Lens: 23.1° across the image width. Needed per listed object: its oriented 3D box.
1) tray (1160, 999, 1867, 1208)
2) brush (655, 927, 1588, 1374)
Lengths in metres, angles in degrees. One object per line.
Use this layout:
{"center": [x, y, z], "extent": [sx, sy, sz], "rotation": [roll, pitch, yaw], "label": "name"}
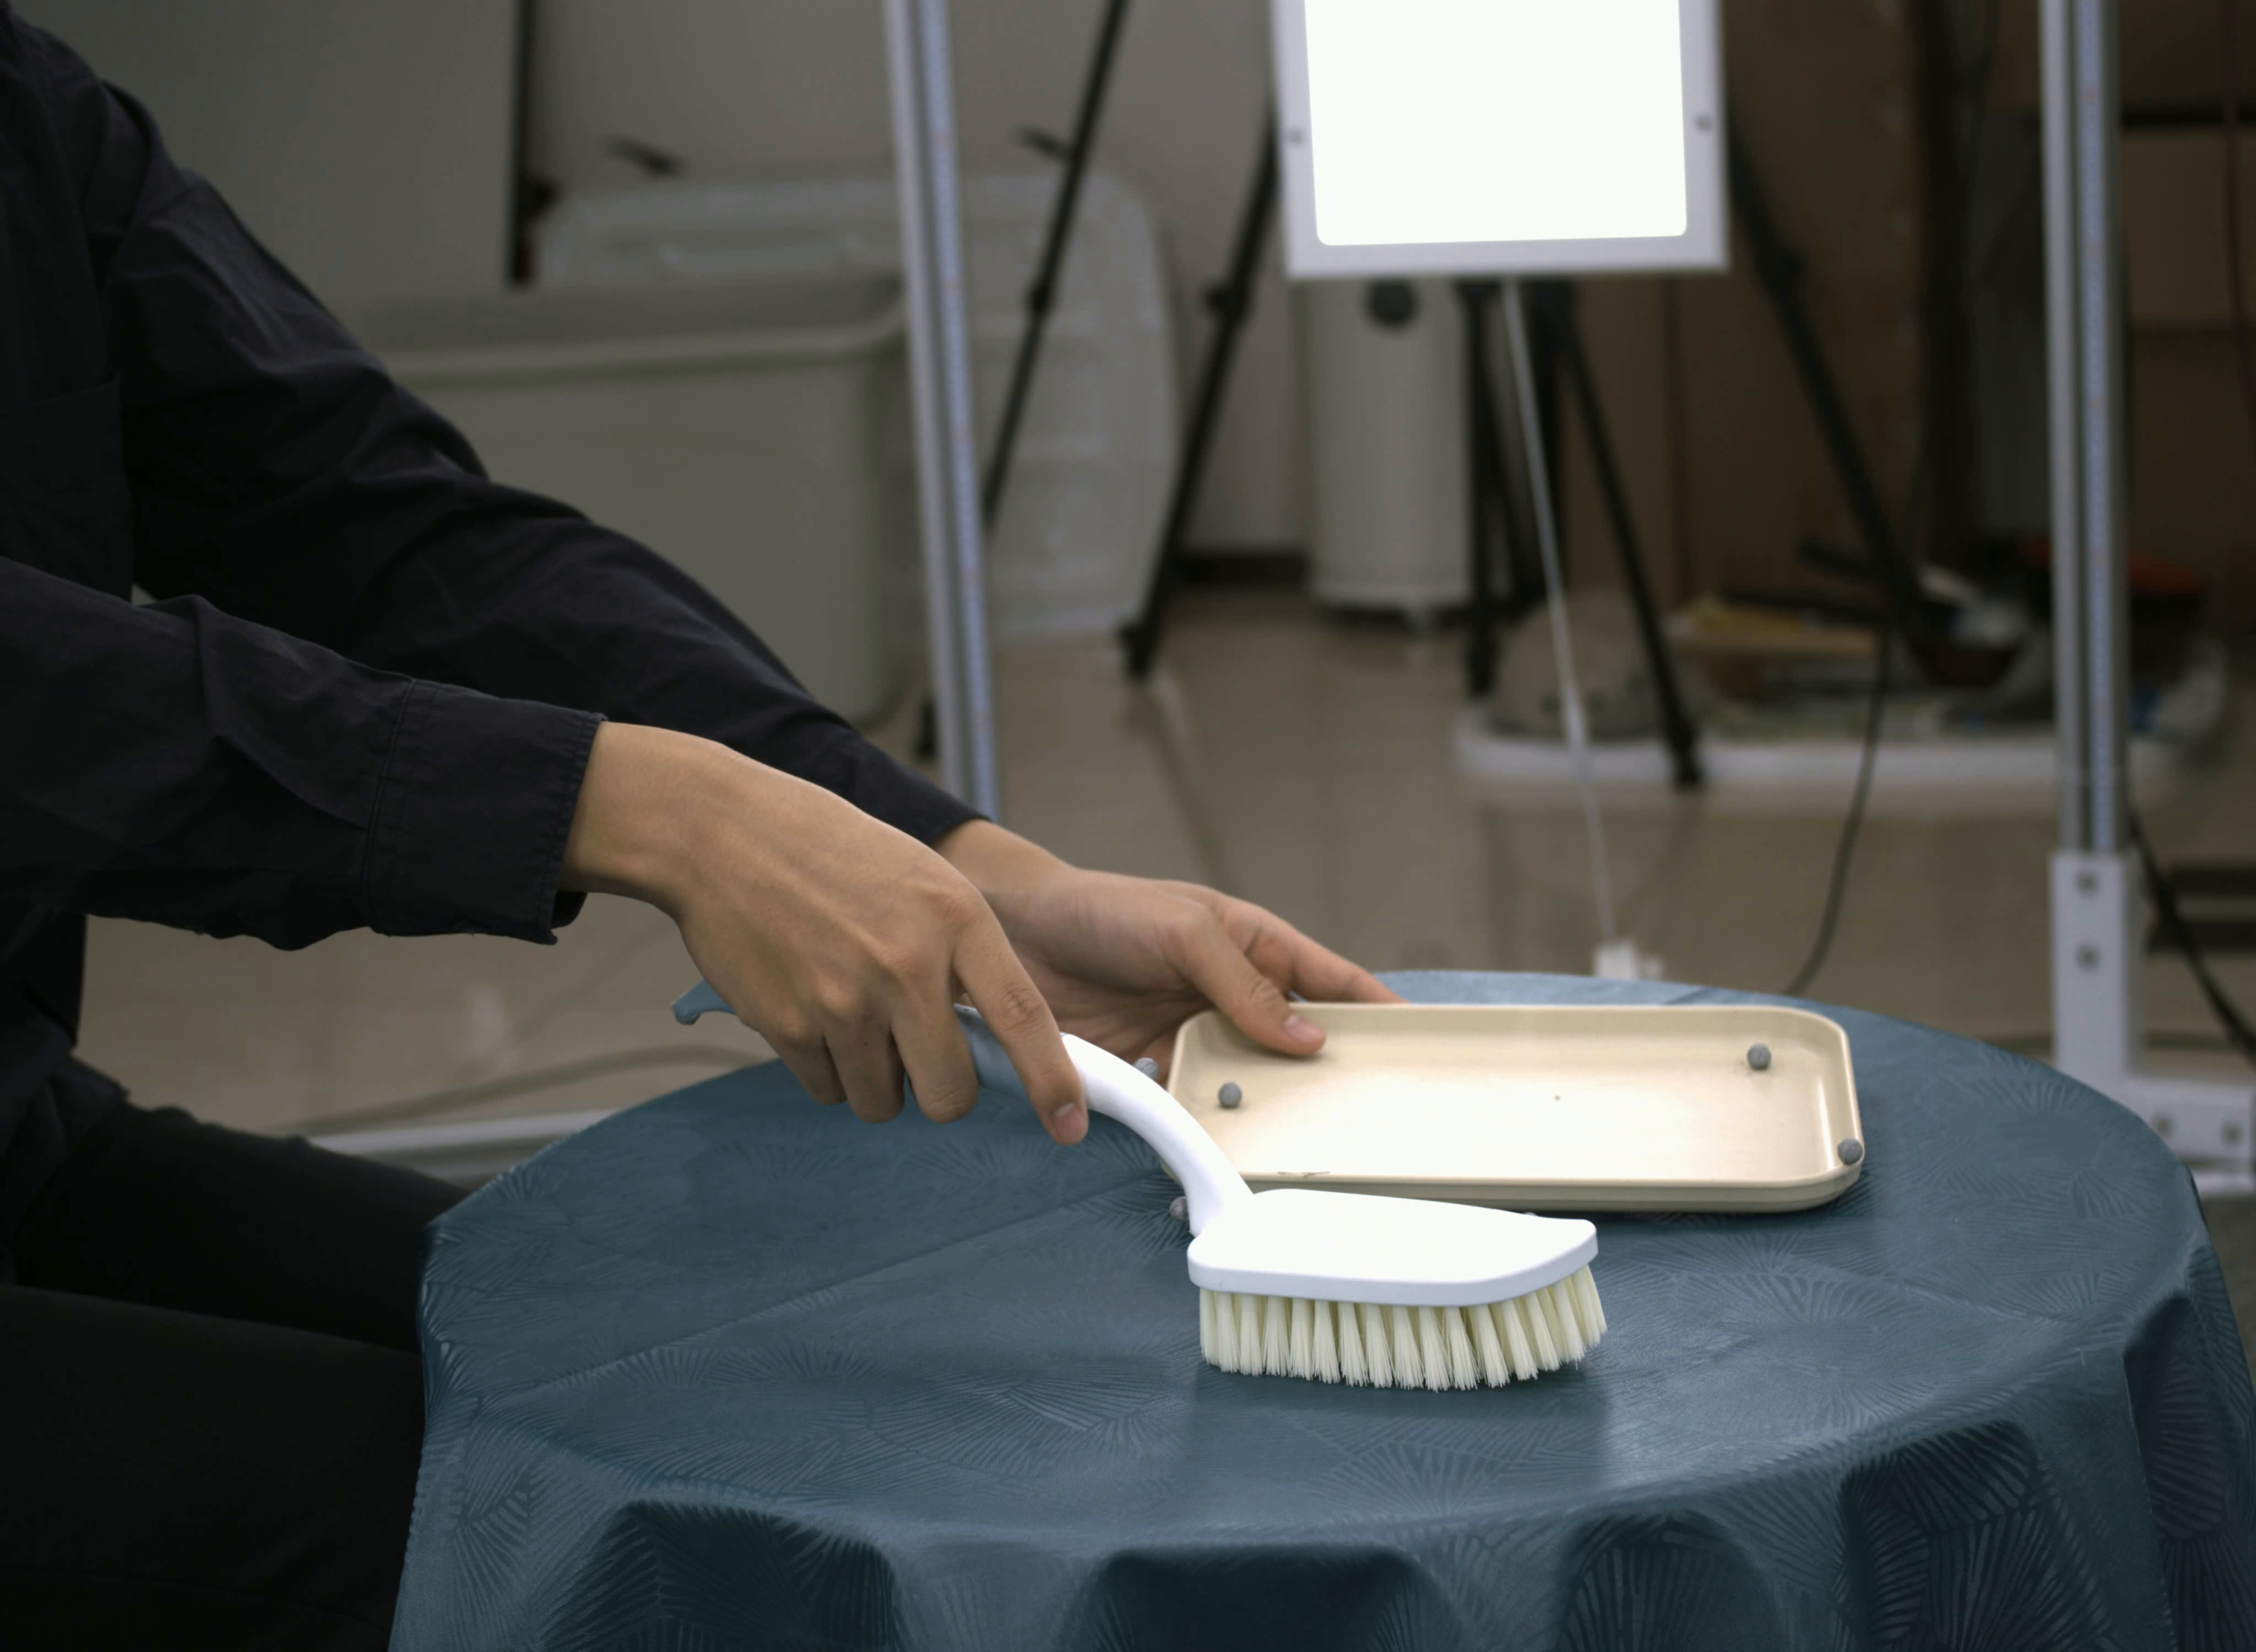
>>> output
{"center": [0.134, 0.096, 1.897], "extent": [0.240, 0.017, 0.170], "rotation": [0, 18, 7], "label": "tray"}
{"center": [-0.007, 0.115, 1.752], "extent": [0.330, 0.084, 0.082], "rotation": [15, -13, 22], "label": "brush"}
